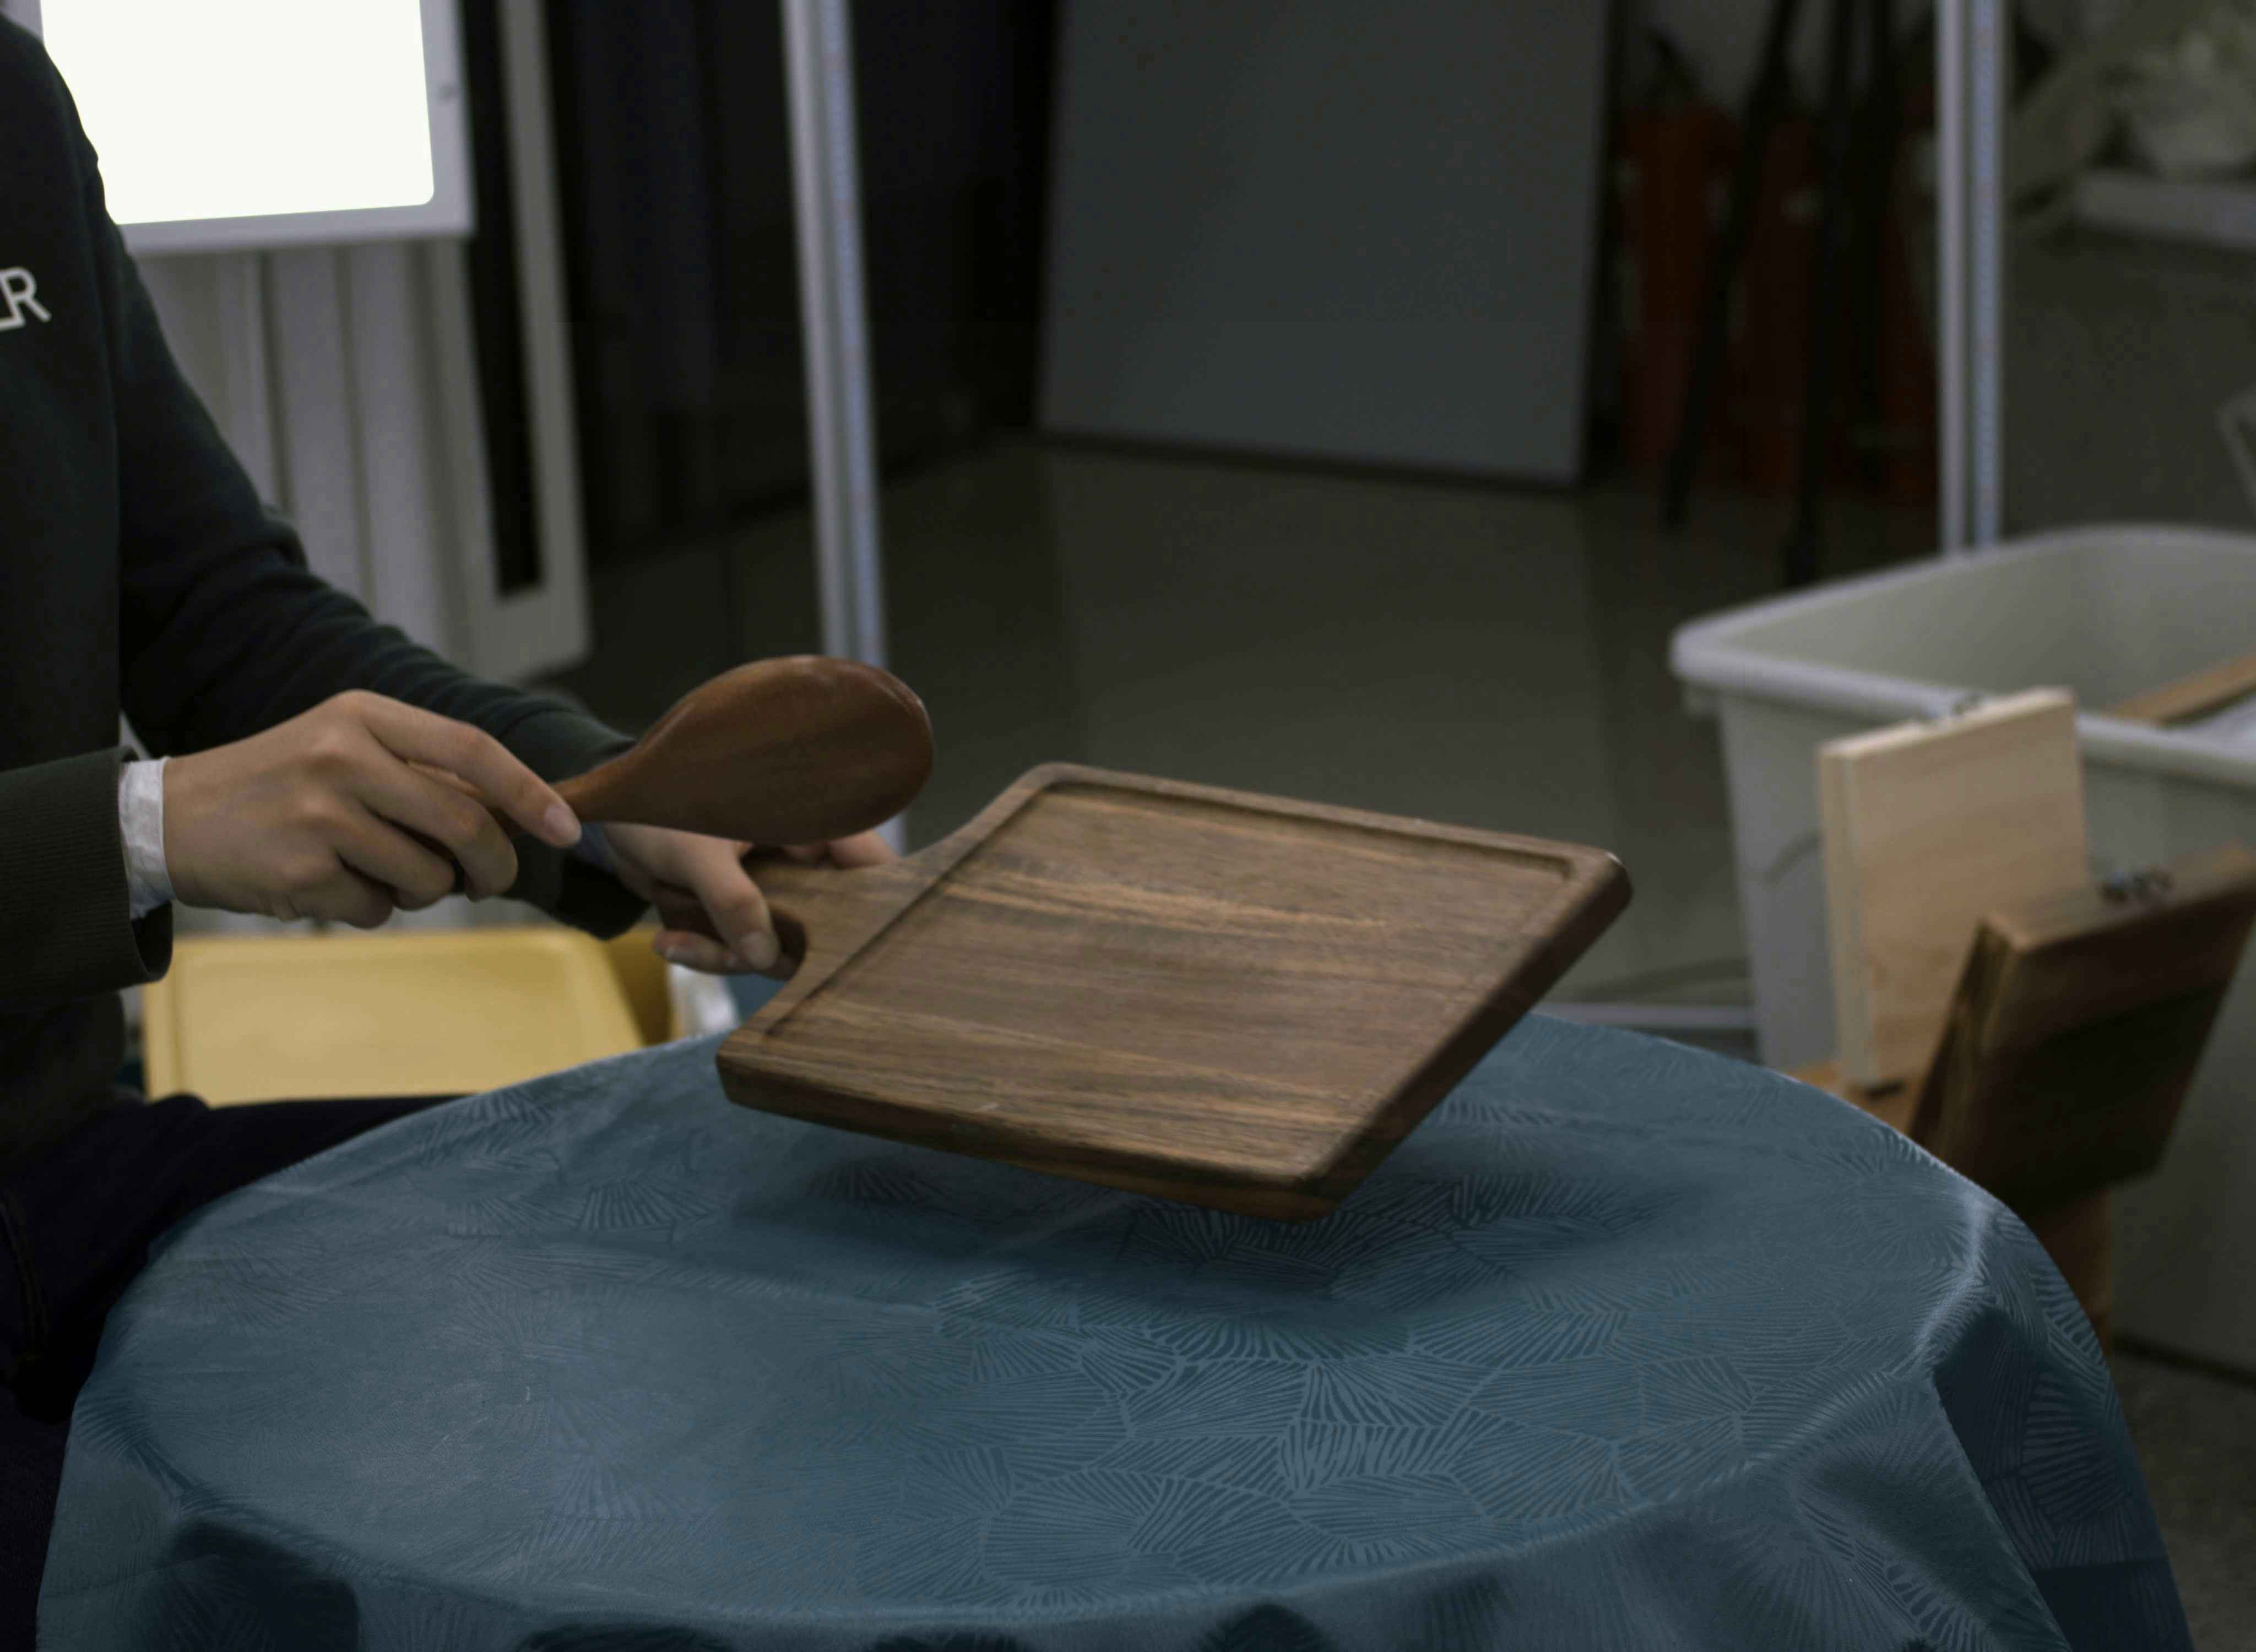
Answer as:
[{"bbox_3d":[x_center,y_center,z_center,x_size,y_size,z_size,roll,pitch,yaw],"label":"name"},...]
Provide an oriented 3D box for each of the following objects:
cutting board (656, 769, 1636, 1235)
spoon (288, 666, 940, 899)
[{"bbox_3d":[-0.022,0.046,1.802,0.355,0.023,0.199,9,38,38],"label":"cutting board"},{"bbox_3d":[-0.162,-0.007,1.693,0.215,0.075,0.017,-11,45,14],"label":"spoon"}]
